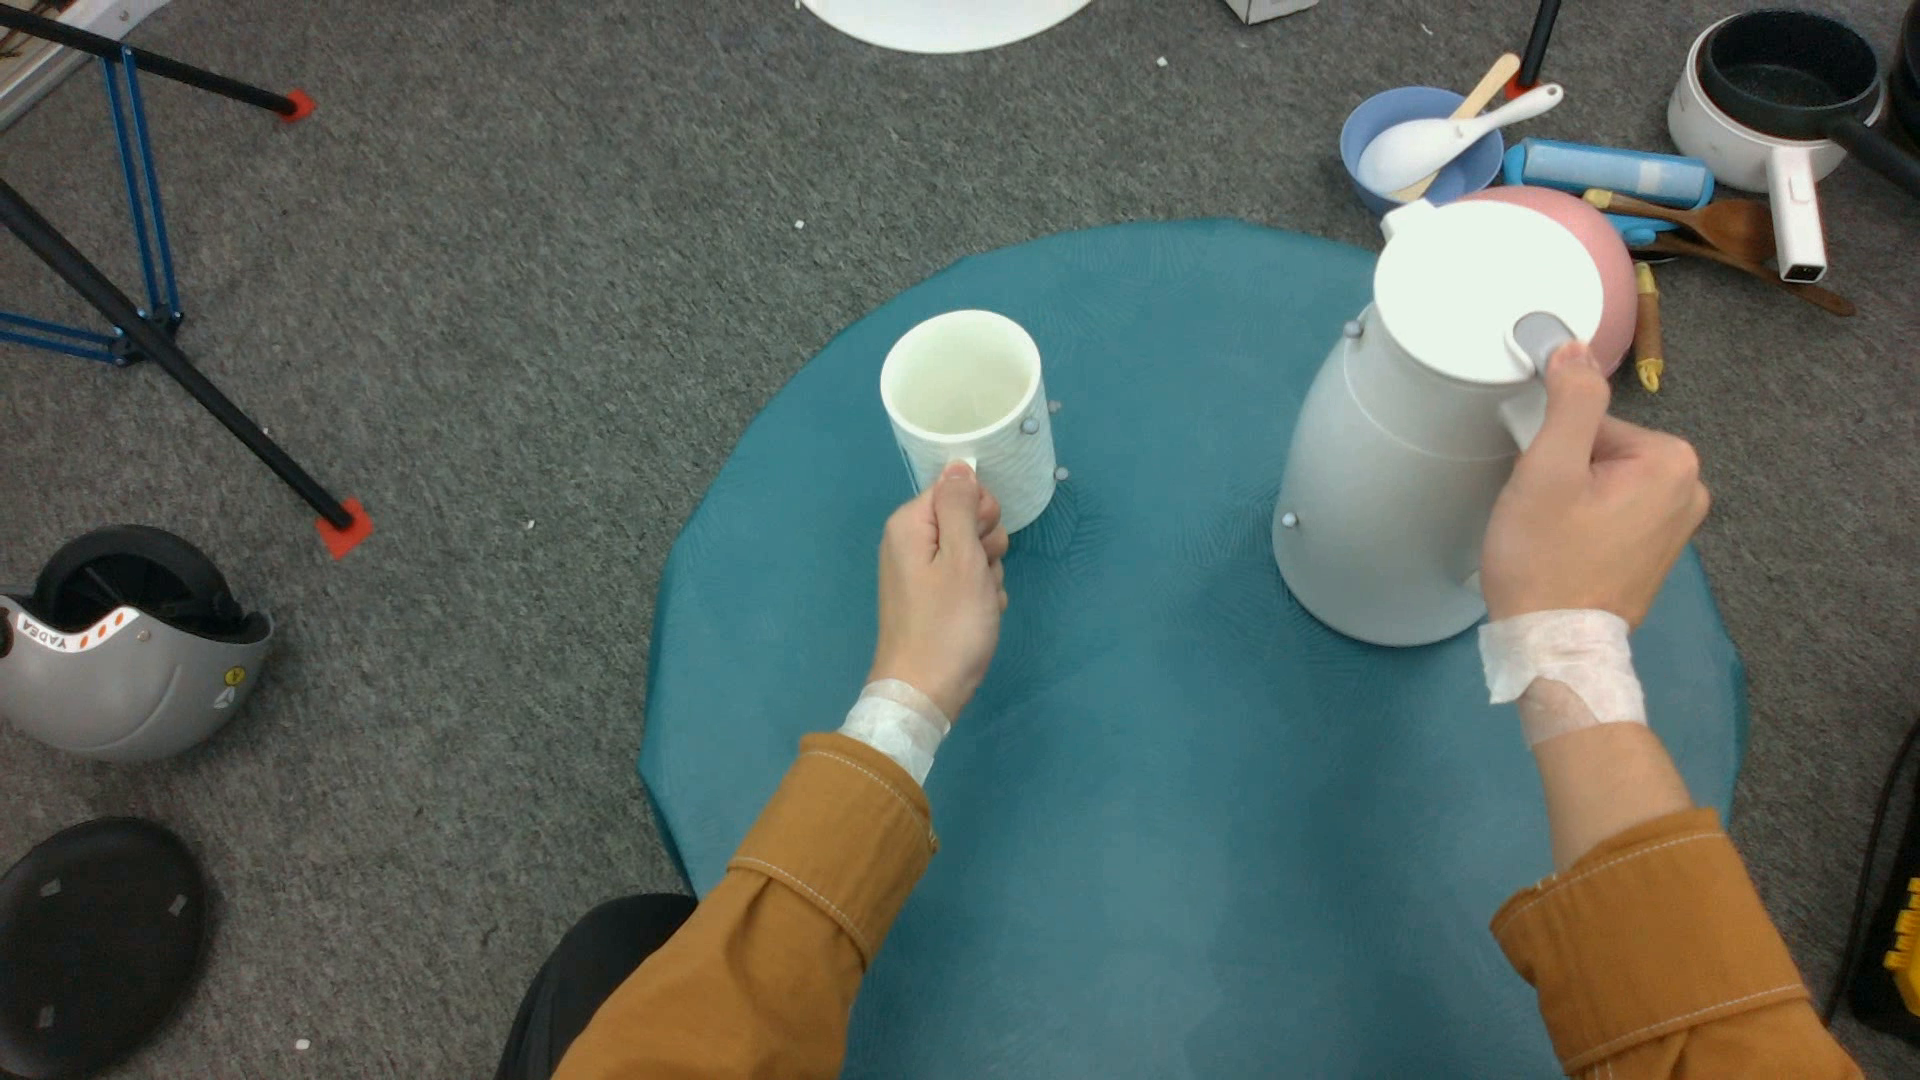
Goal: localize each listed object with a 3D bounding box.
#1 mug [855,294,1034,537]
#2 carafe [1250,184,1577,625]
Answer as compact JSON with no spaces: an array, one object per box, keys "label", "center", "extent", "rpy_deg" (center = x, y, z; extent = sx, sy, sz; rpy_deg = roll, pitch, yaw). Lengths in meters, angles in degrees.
[{"label":"mug","center":[-0.005,-0.056,0.747],"extent":[0.085,0.101,0.119],"rpy_deg":[-5,58,7]},{"label":"carafe","center":[0.231,-0.049,0.678],"extent":[0.132,0.248,0.168],"rpy_deg":[-25,65,-7]}]
